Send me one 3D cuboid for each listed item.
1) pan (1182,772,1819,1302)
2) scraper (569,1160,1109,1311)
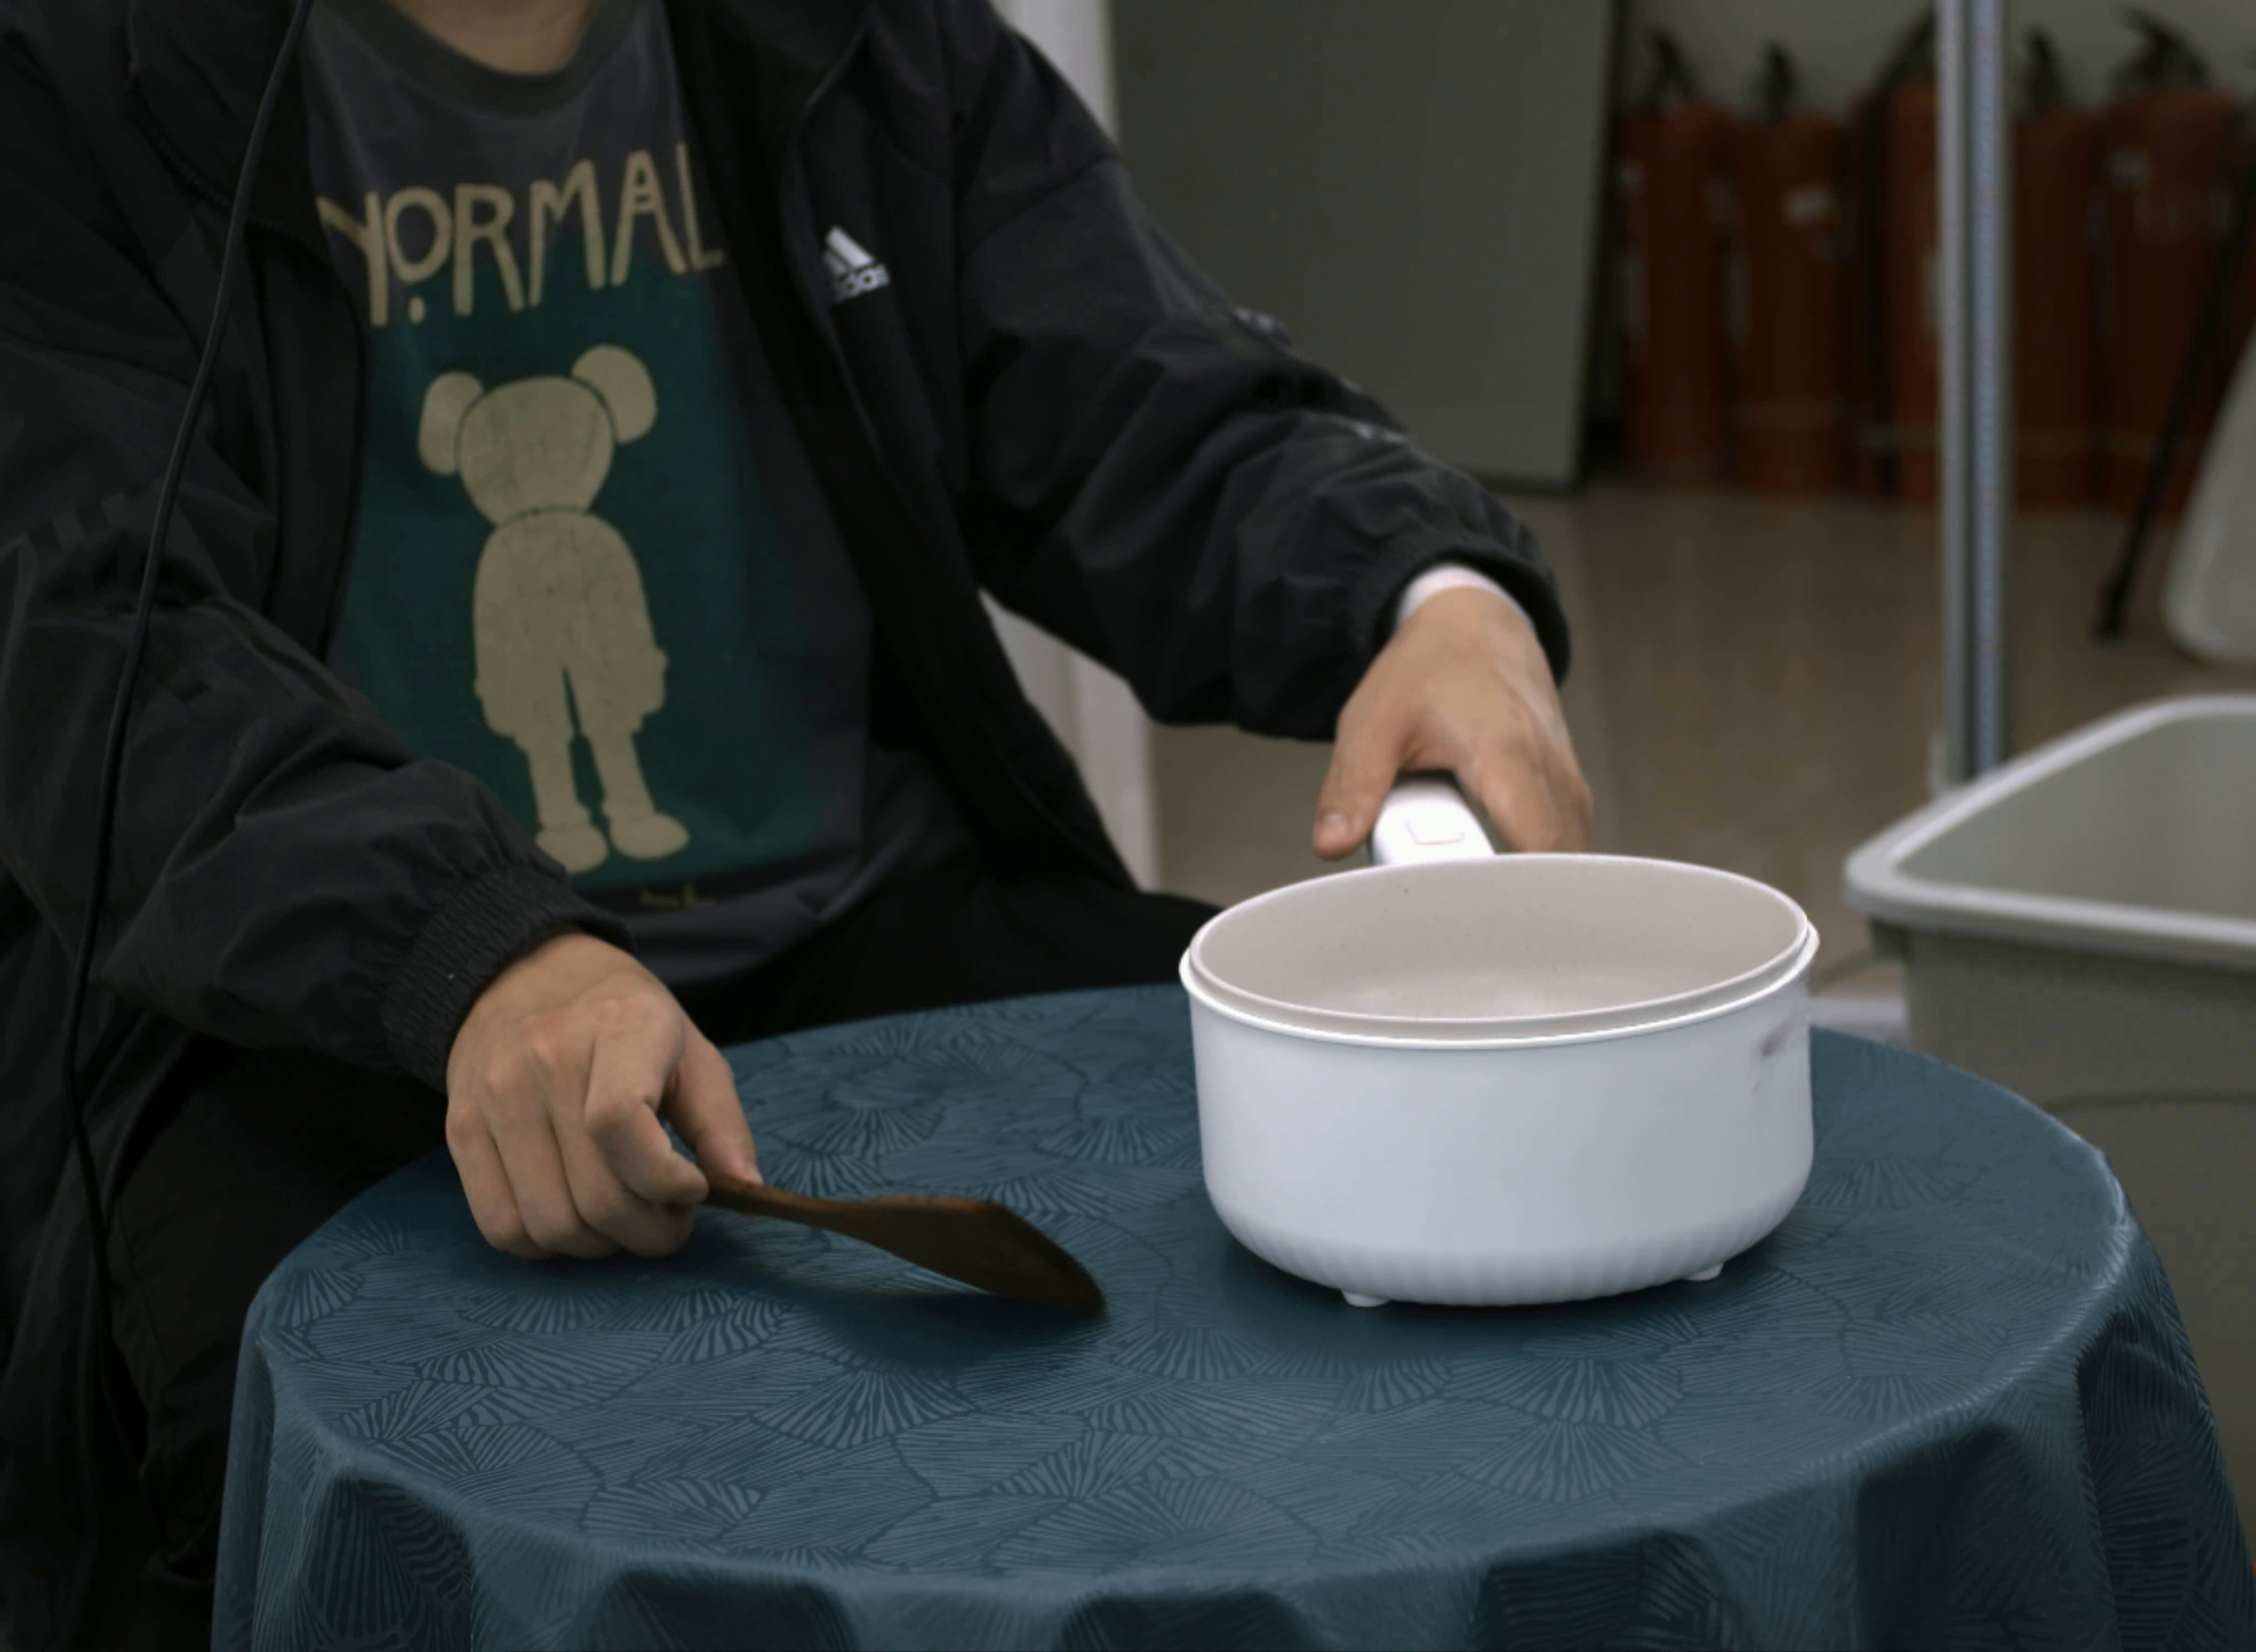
[{"bbox_3d":[0.114,0.064,1.765,0.198,0.103,0.355,-5,12,-2],"label":"pan"},{"bbox_3d":[-0.099,0.125,1.697,0.213,0.011,0.074,7,-20,42],"label":"scraper"}]
